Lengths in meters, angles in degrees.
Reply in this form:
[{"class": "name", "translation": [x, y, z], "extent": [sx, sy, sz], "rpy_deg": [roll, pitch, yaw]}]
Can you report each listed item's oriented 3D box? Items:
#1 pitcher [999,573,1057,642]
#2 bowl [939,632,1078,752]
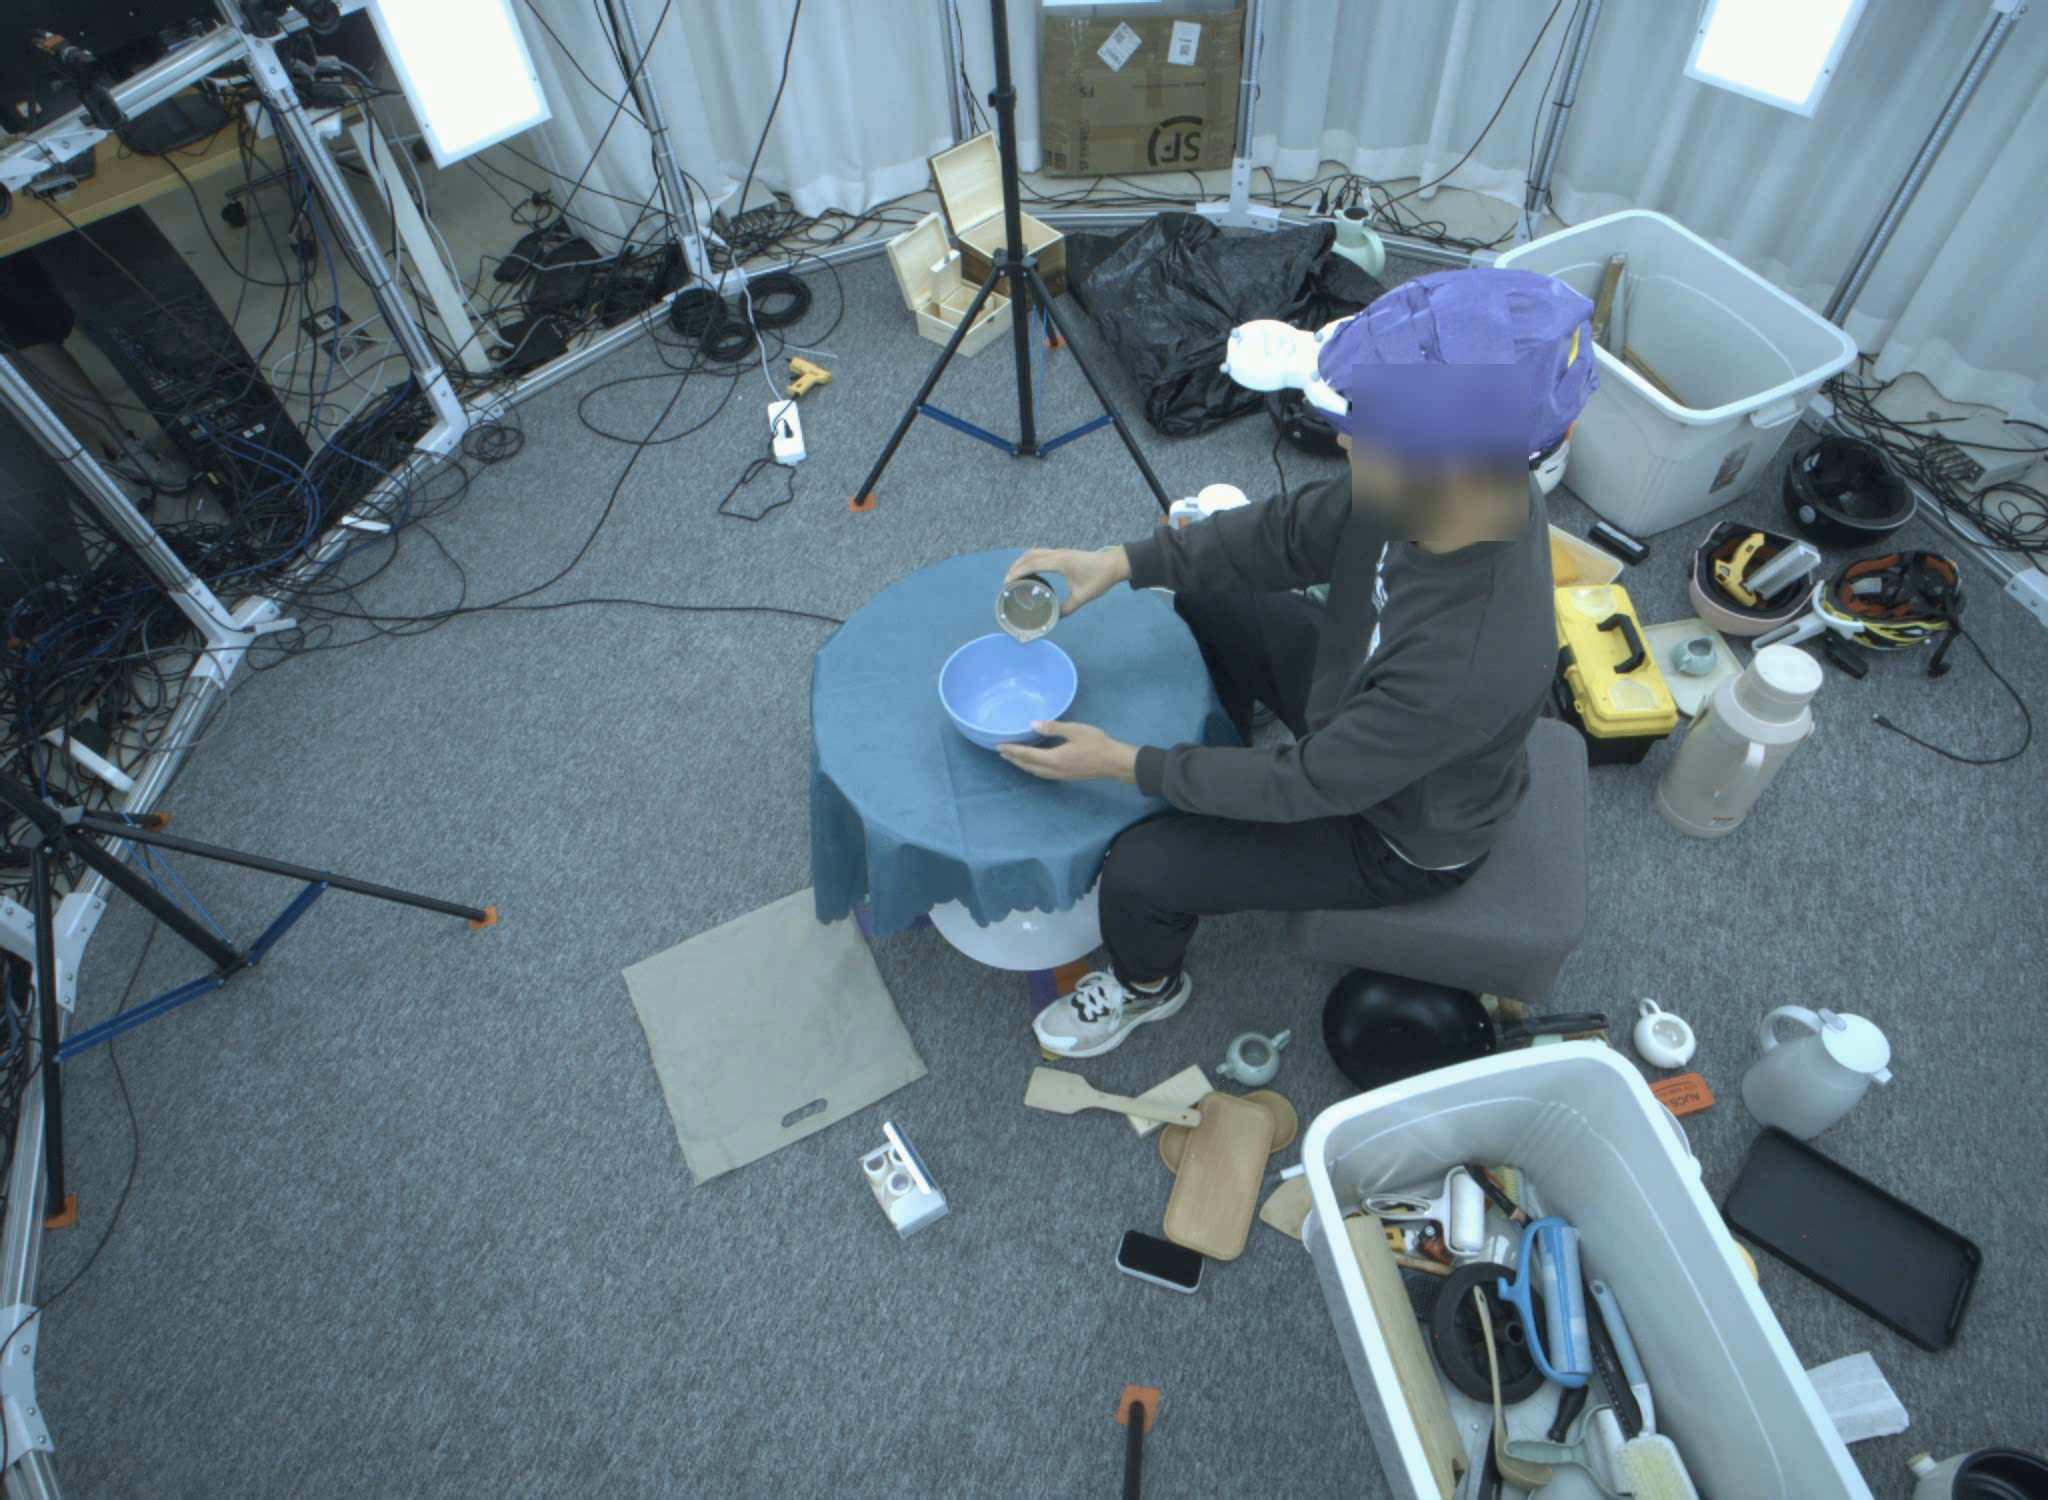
[{"class": "pitcher", "translation": [0.006, -0.215, 1.794], "extent": [0.084, 0.096, 0.071], "rpy_deg": [6, 31, -2]}, {"class": "bowl", "translation": [-0.022, -0.068, 1.775], "extent": [0.196, 0.096, 0.194], "rpy_deg": [1, 51, 0]}]
